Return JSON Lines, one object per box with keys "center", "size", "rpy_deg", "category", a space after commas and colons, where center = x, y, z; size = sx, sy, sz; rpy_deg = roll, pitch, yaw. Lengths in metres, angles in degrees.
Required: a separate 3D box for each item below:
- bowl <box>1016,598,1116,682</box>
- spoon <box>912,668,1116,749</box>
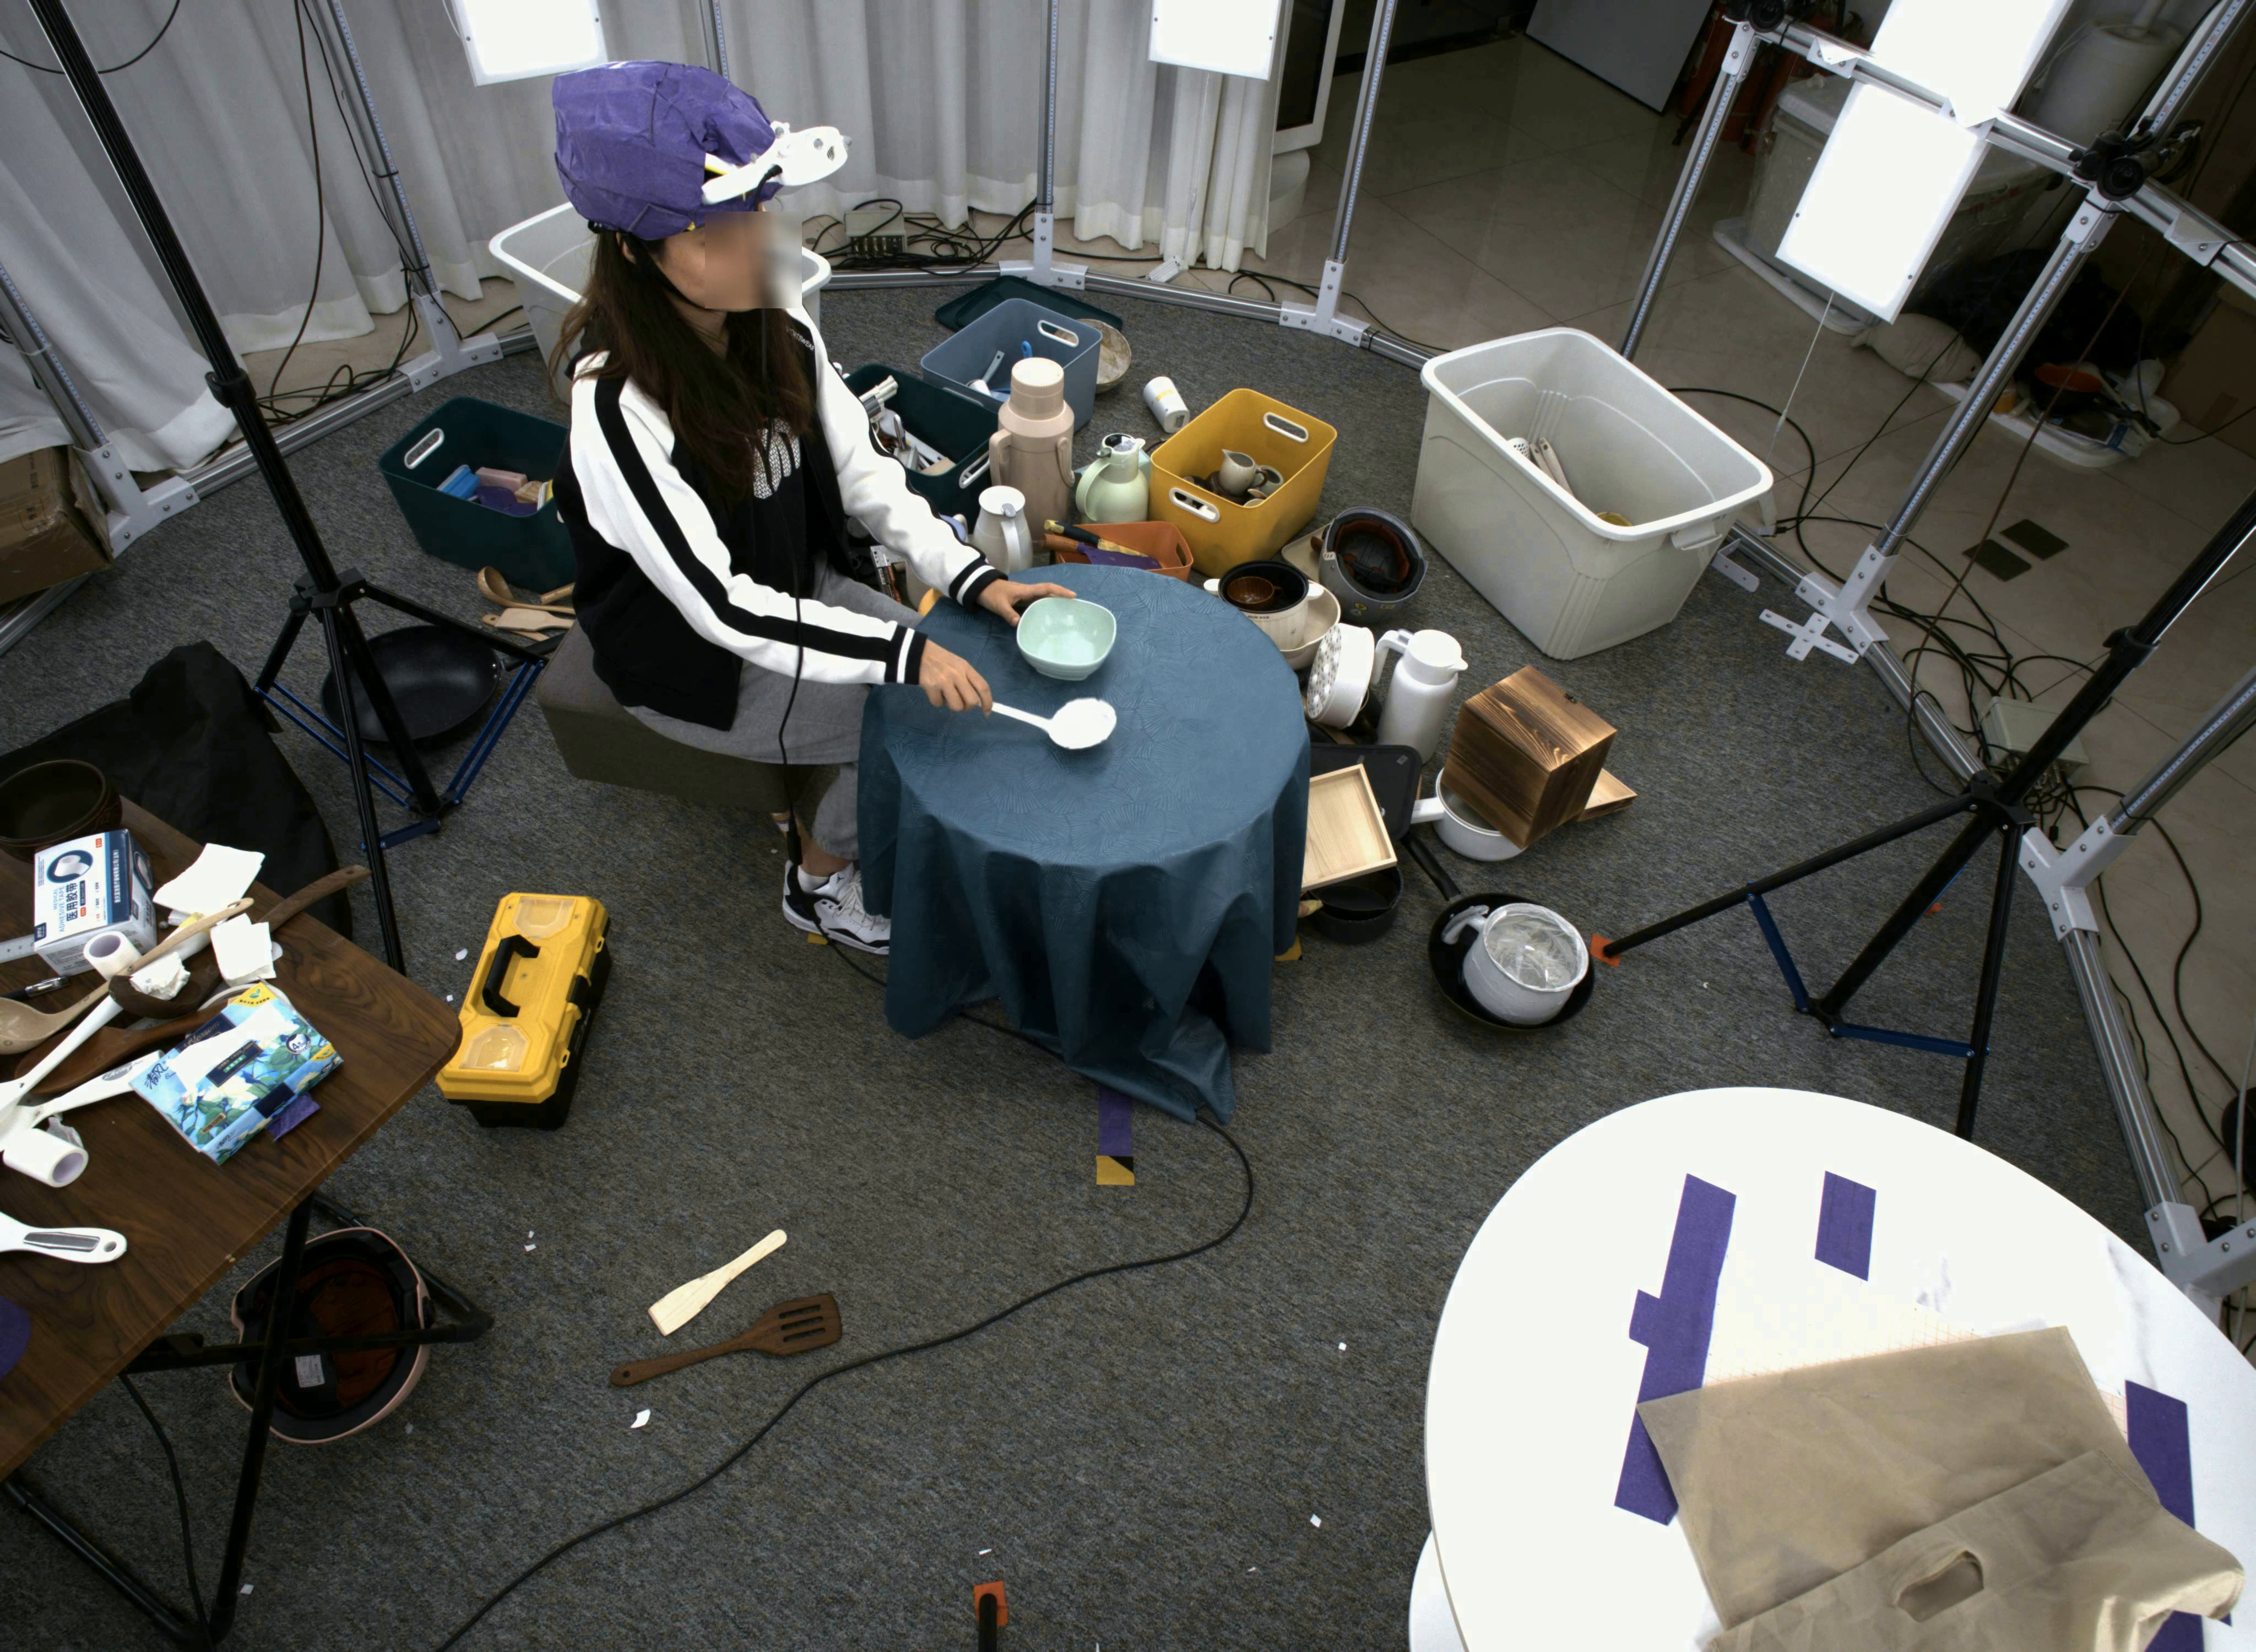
{"center": [-0.090, -0.260, 1.856], "size": [0.151, 0.057, 0.155], "rpy_deg": [2, 49, -3], "category": "bowl"}
{"center": [-0.153, -0.176, 1.736], "size": [0.276, 0.058, 0.103], "rpy_deg": [23, 42, -9], "category": "spoon"}
